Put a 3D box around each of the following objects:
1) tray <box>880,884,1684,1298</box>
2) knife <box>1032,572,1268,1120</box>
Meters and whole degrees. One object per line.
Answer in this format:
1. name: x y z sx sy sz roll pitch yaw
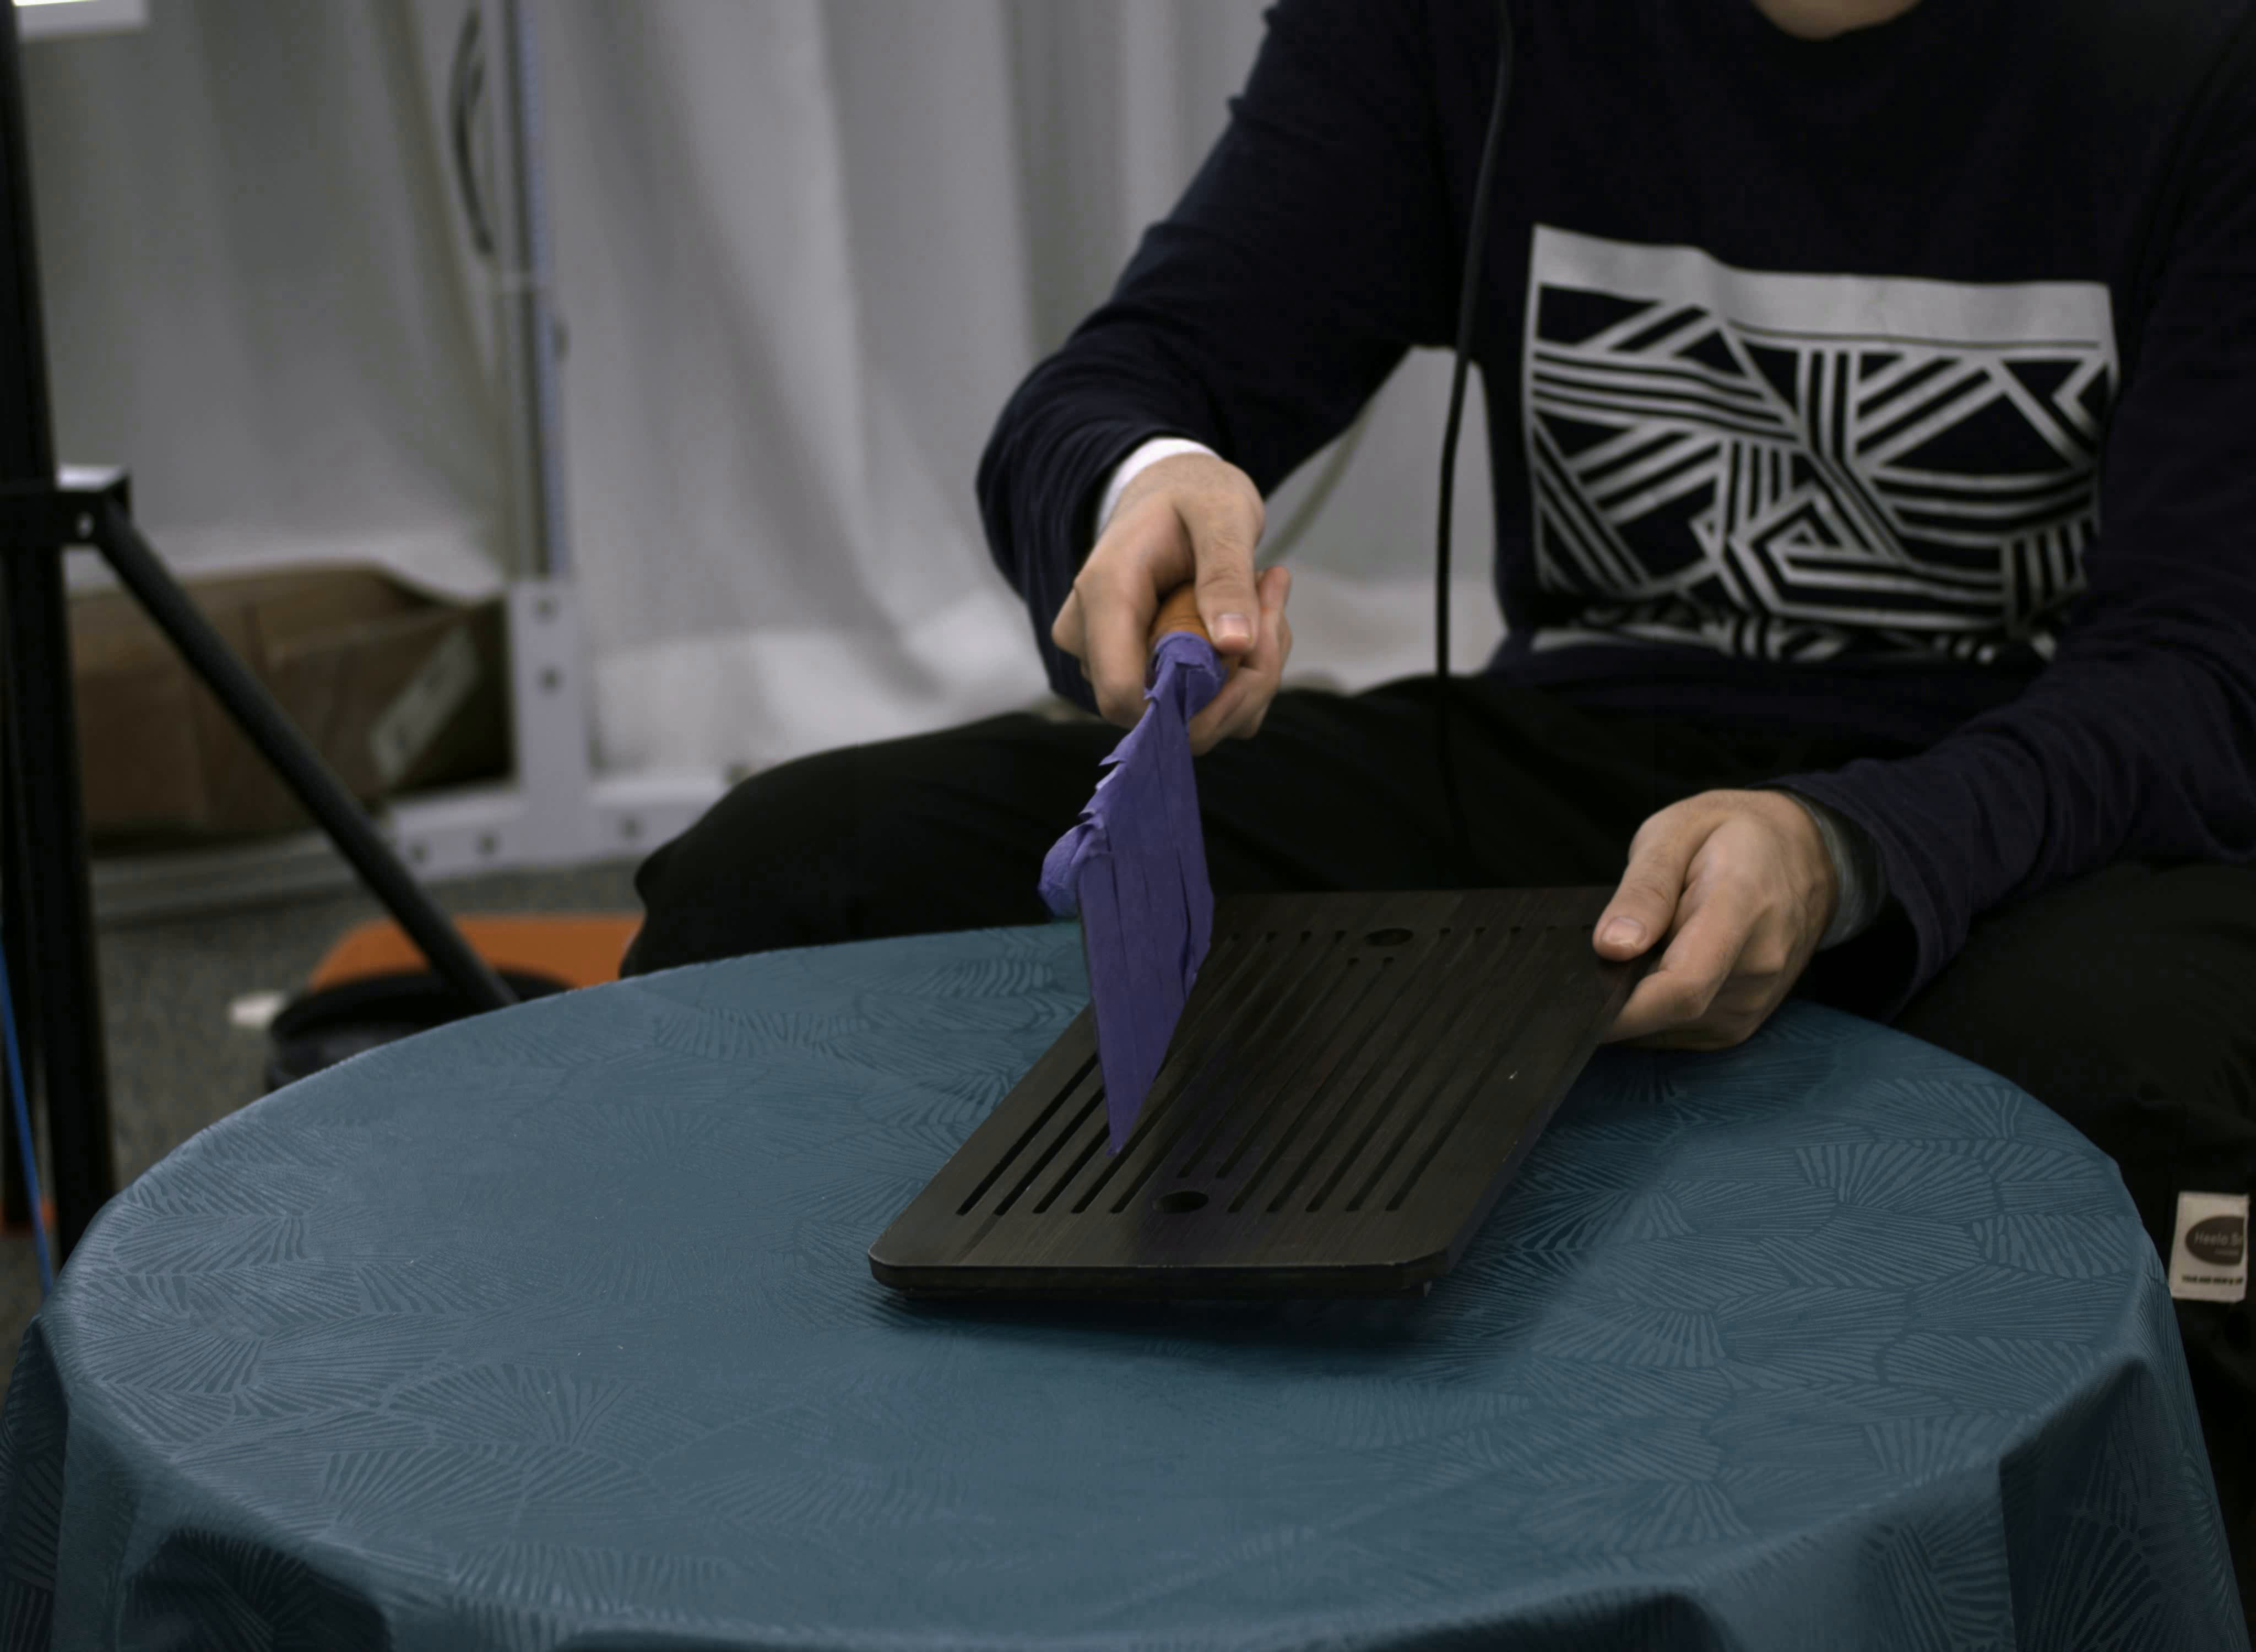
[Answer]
1. tray: 0.054 0.077 1.575 0.172 0.018 0.303 -2 18 20
2. knife: 0.008 0.003 1.616 0.032 0.104 0.314 -4 16 12
